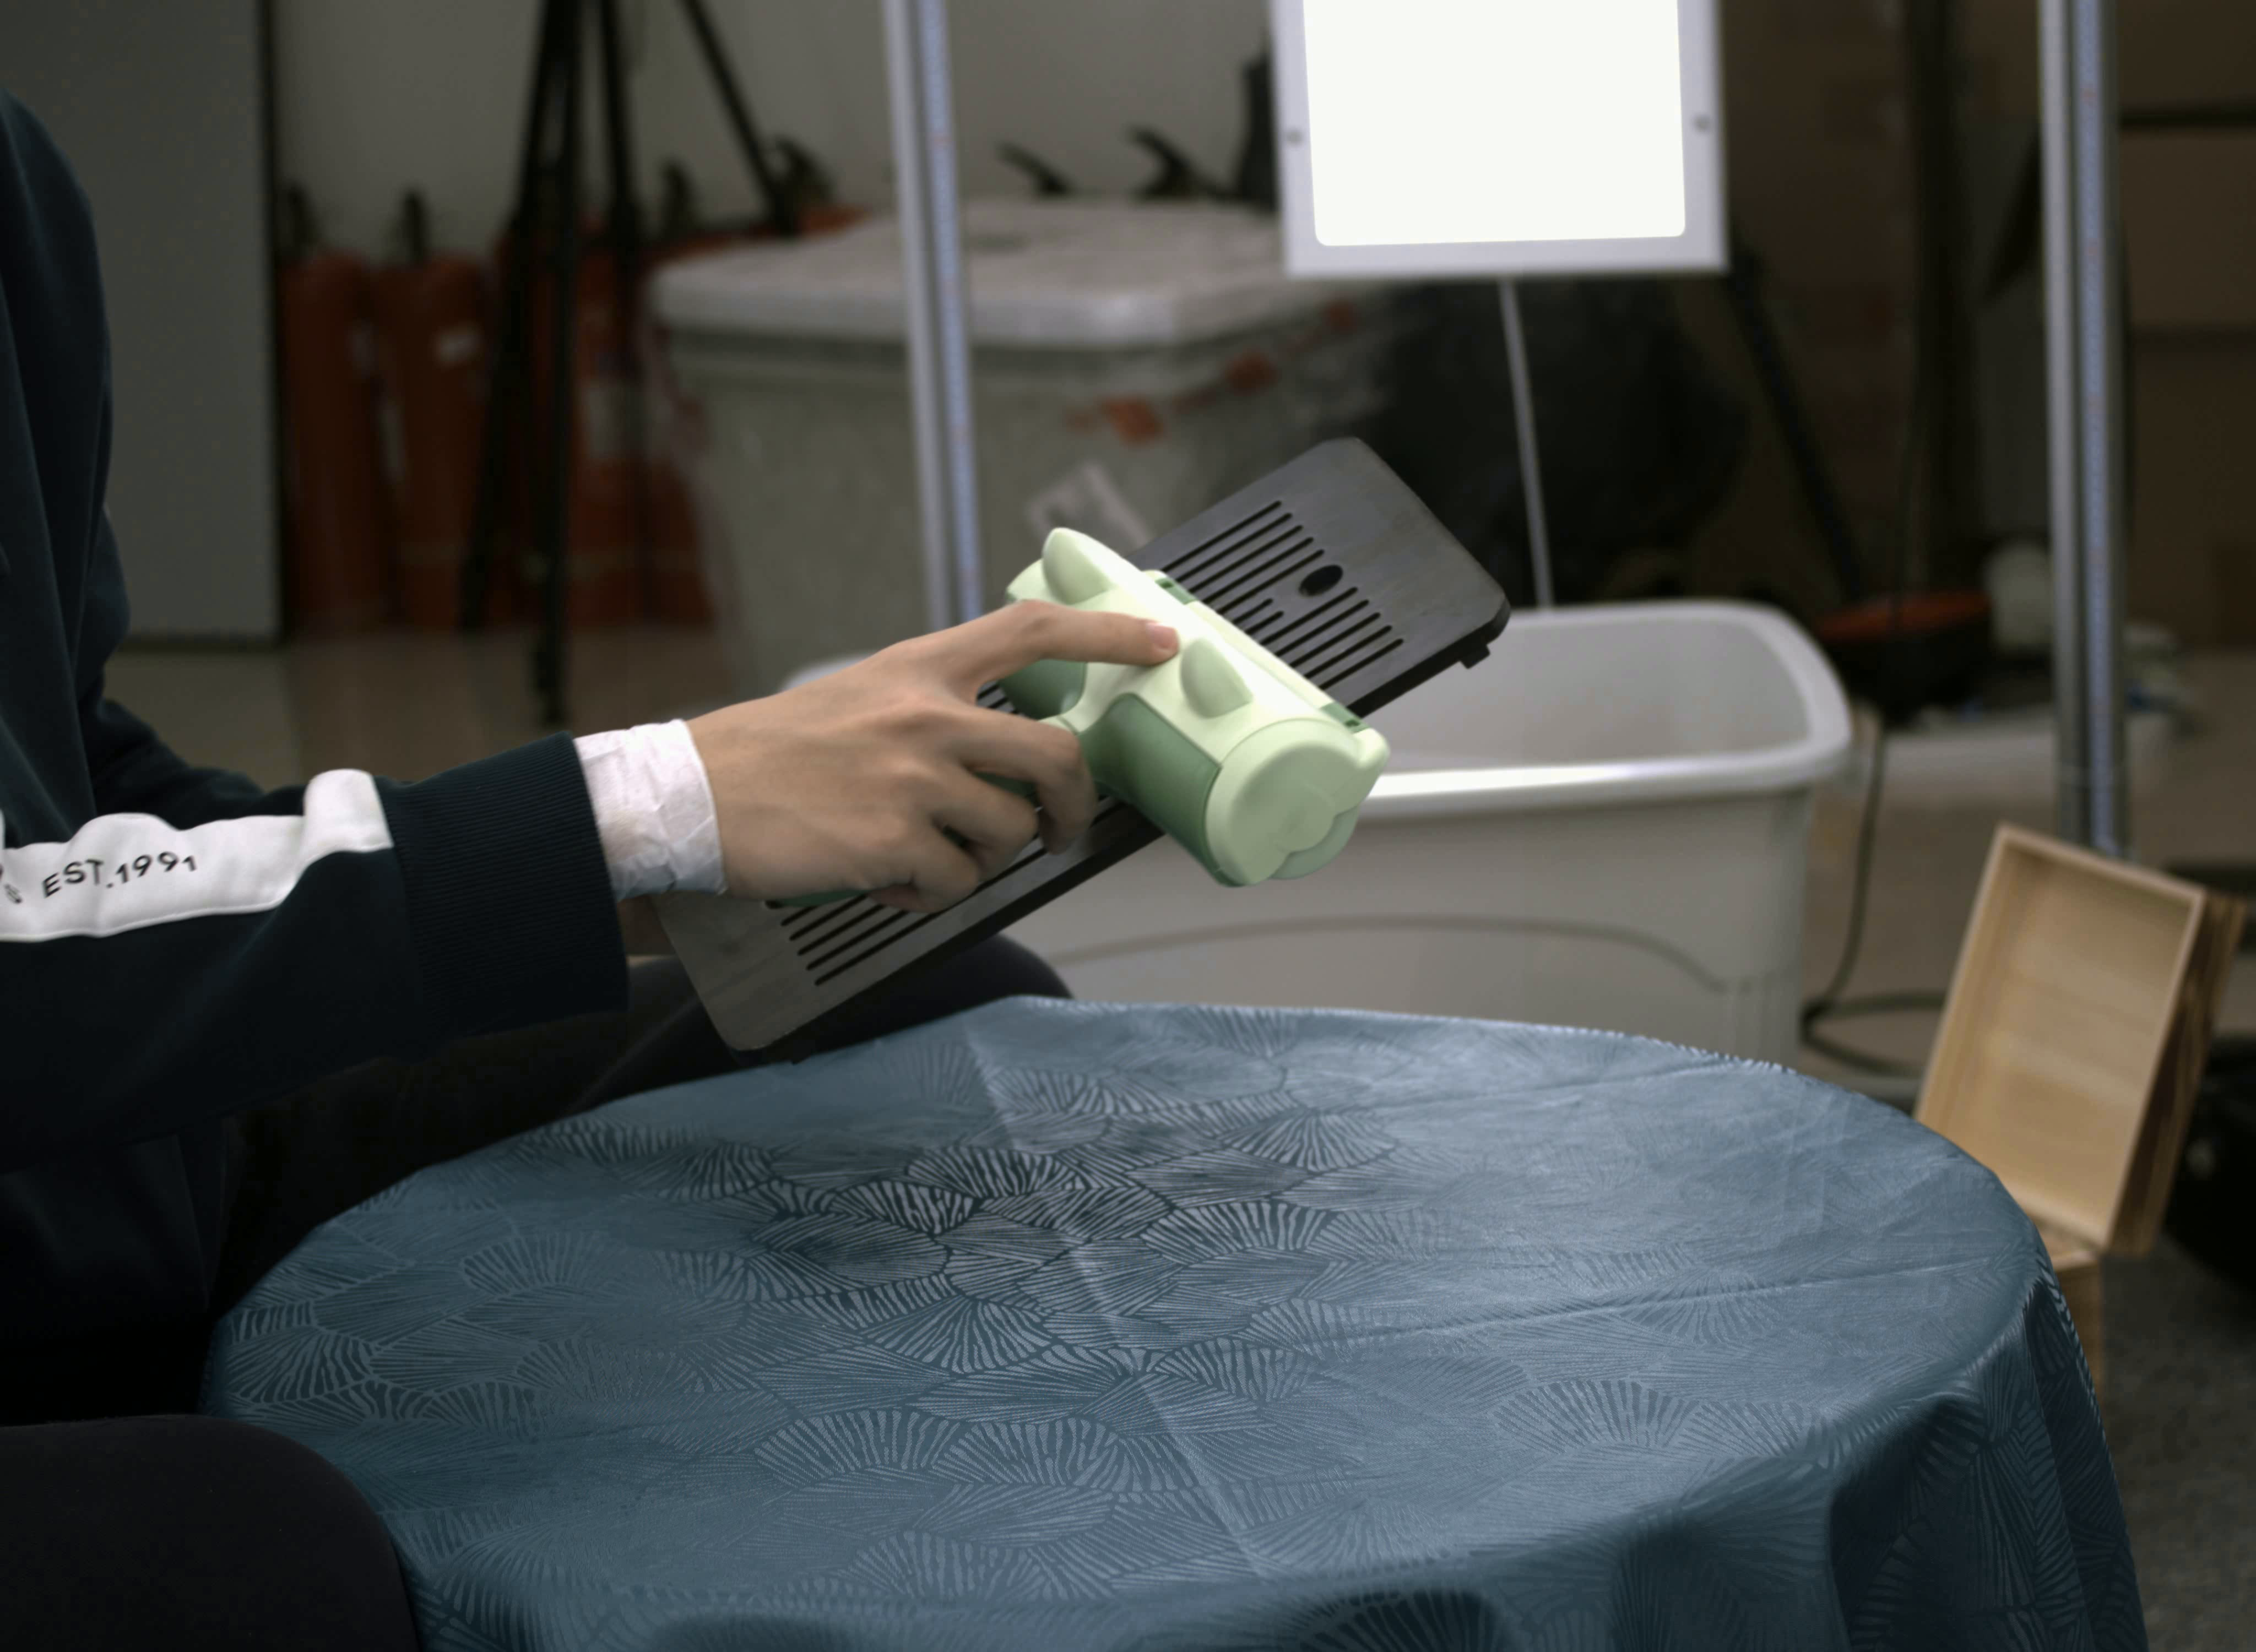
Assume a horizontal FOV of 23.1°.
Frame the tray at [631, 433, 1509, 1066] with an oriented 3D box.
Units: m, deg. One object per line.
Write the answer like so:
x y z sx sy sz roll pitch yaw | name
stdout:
-0.023 -0.028 1.912 0.305 0.018 0.171 -31 30 -1 | tray

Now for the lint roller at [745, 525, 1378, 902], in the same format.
-0.040 -0.032 1.769 0.180 0.082 0.201 -14 25 -18 | lint roller
